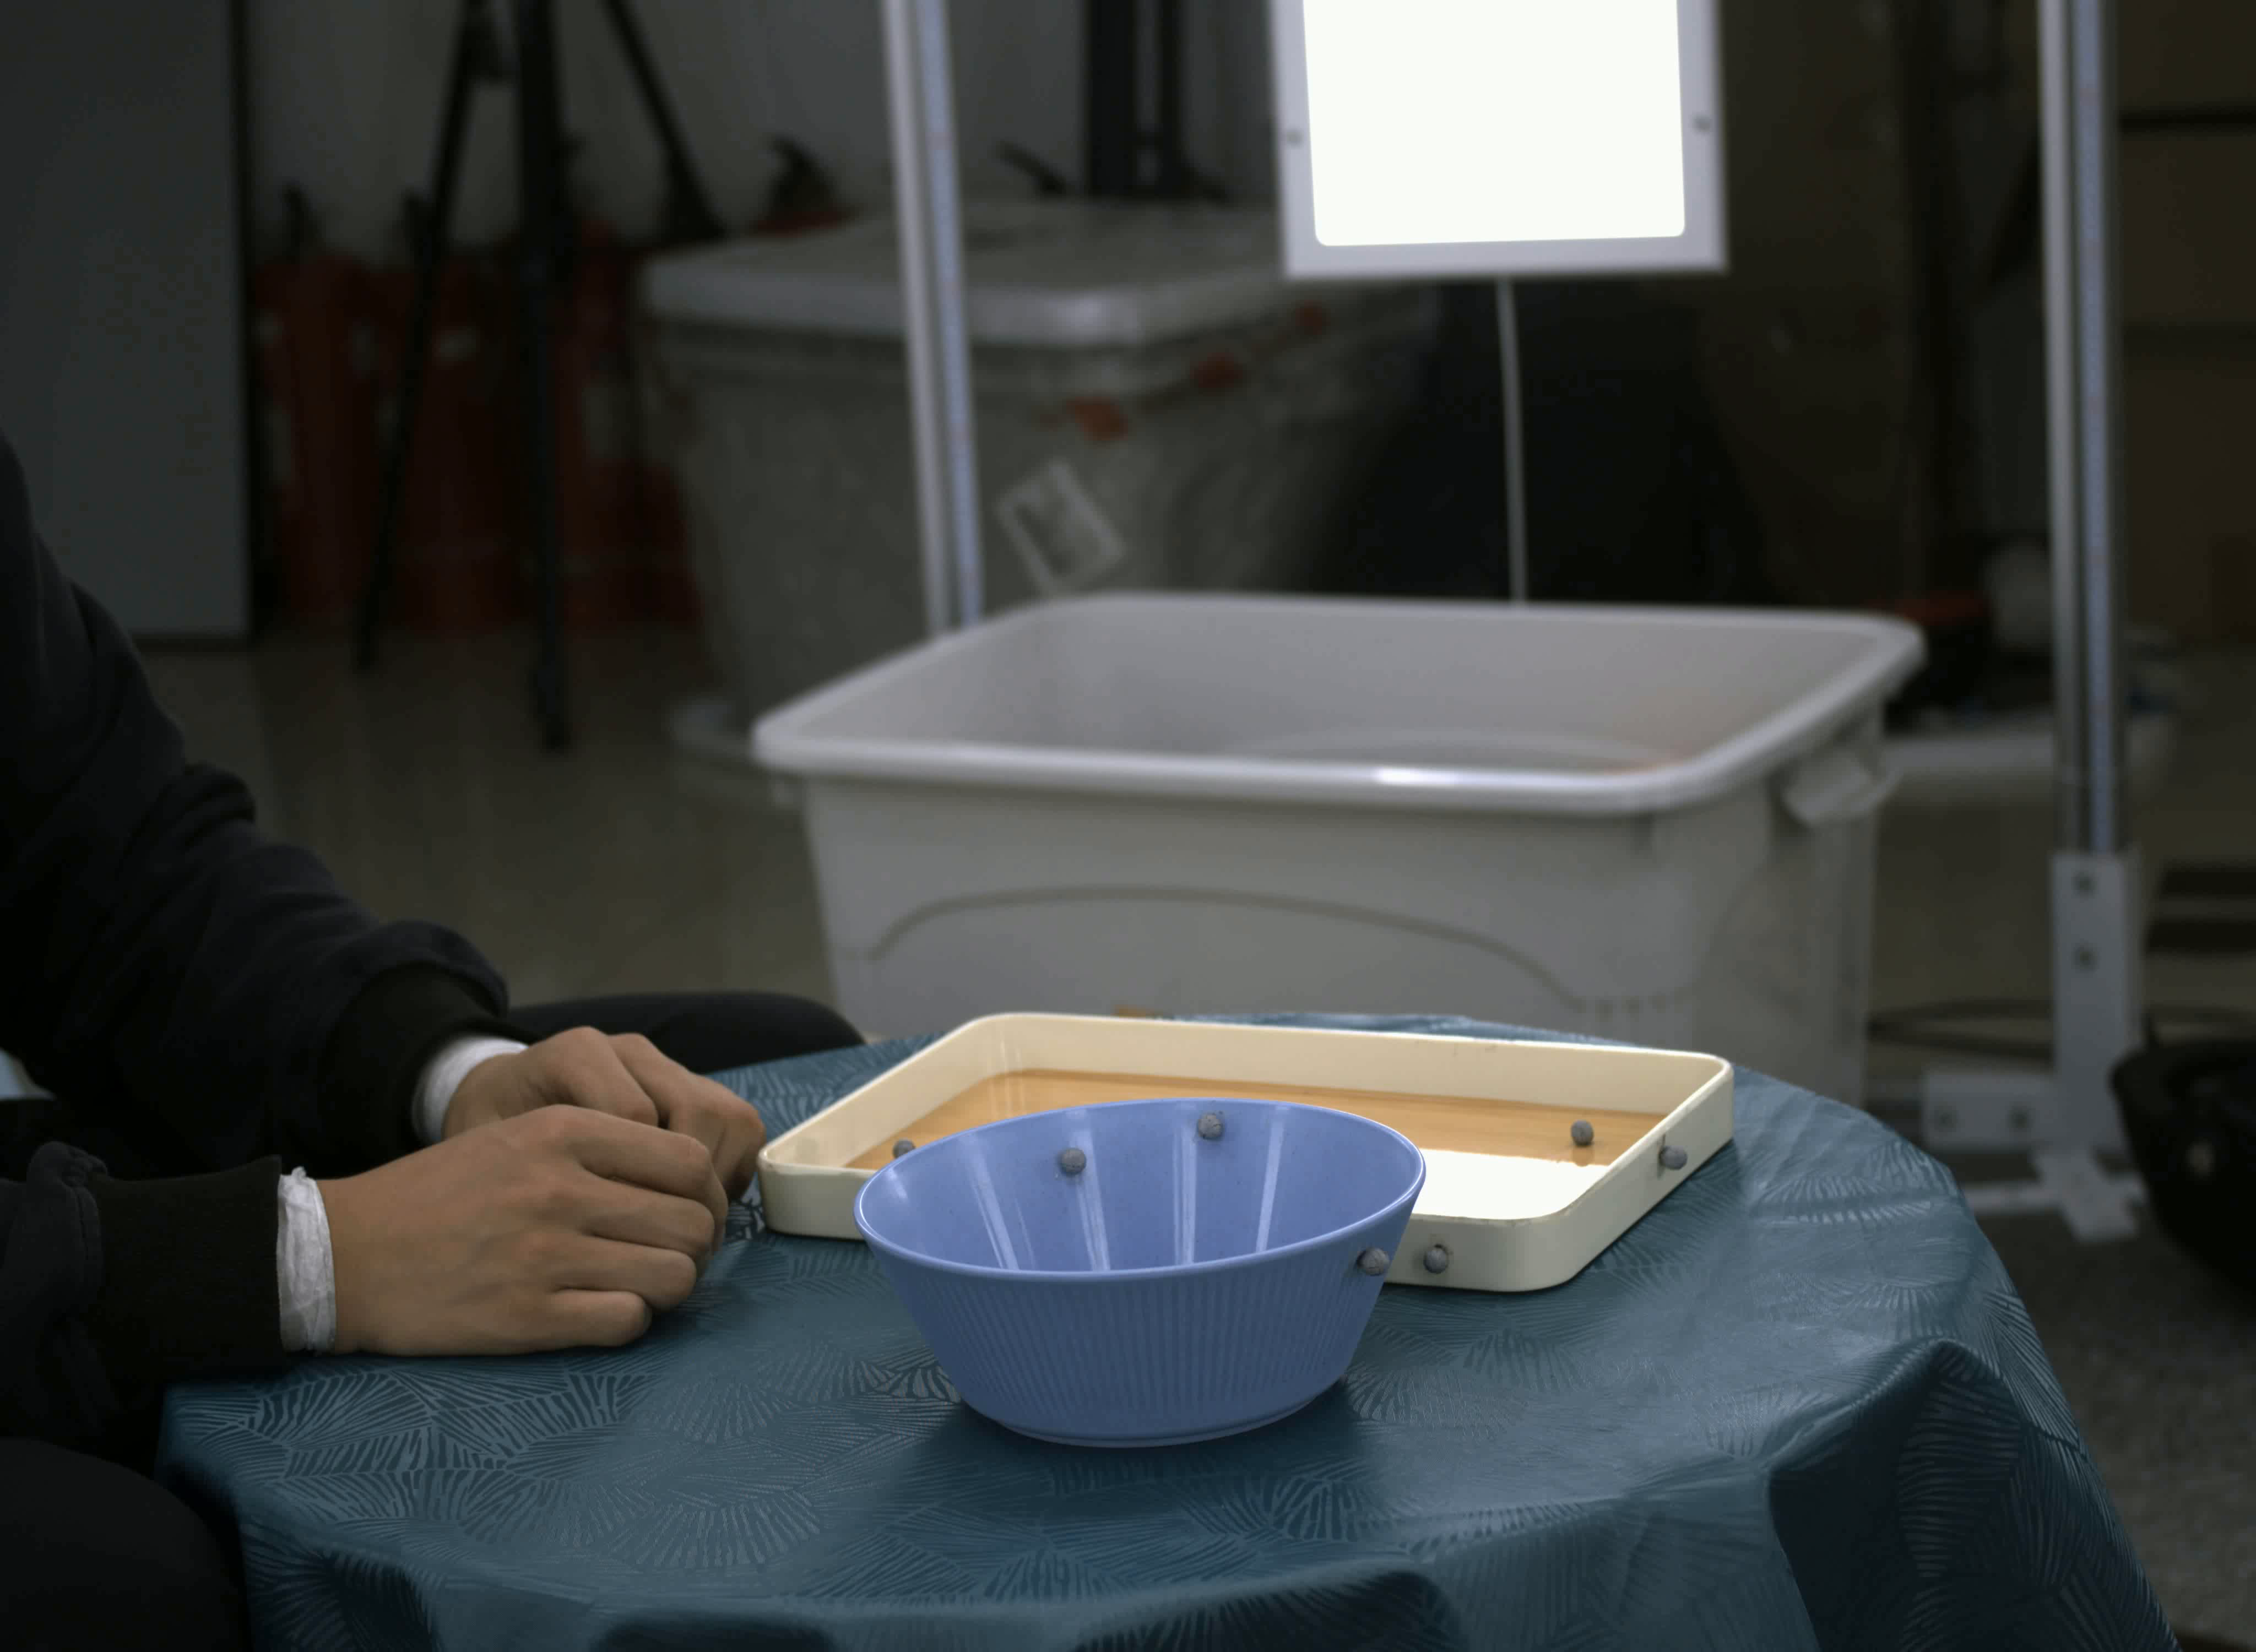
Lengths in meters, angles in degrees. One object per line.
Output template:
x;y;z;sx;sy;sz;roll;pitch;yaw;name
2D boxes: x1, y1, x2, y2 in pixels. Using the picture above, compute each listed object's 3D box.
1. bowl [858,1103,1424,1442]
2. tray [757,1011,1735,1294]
0.006;0.139;1.691;0.175;0.070;0.176;-4;13;0;bowl
0.042;0.110;1.896;0.305;0.027;0.187;3;16;28;tray
